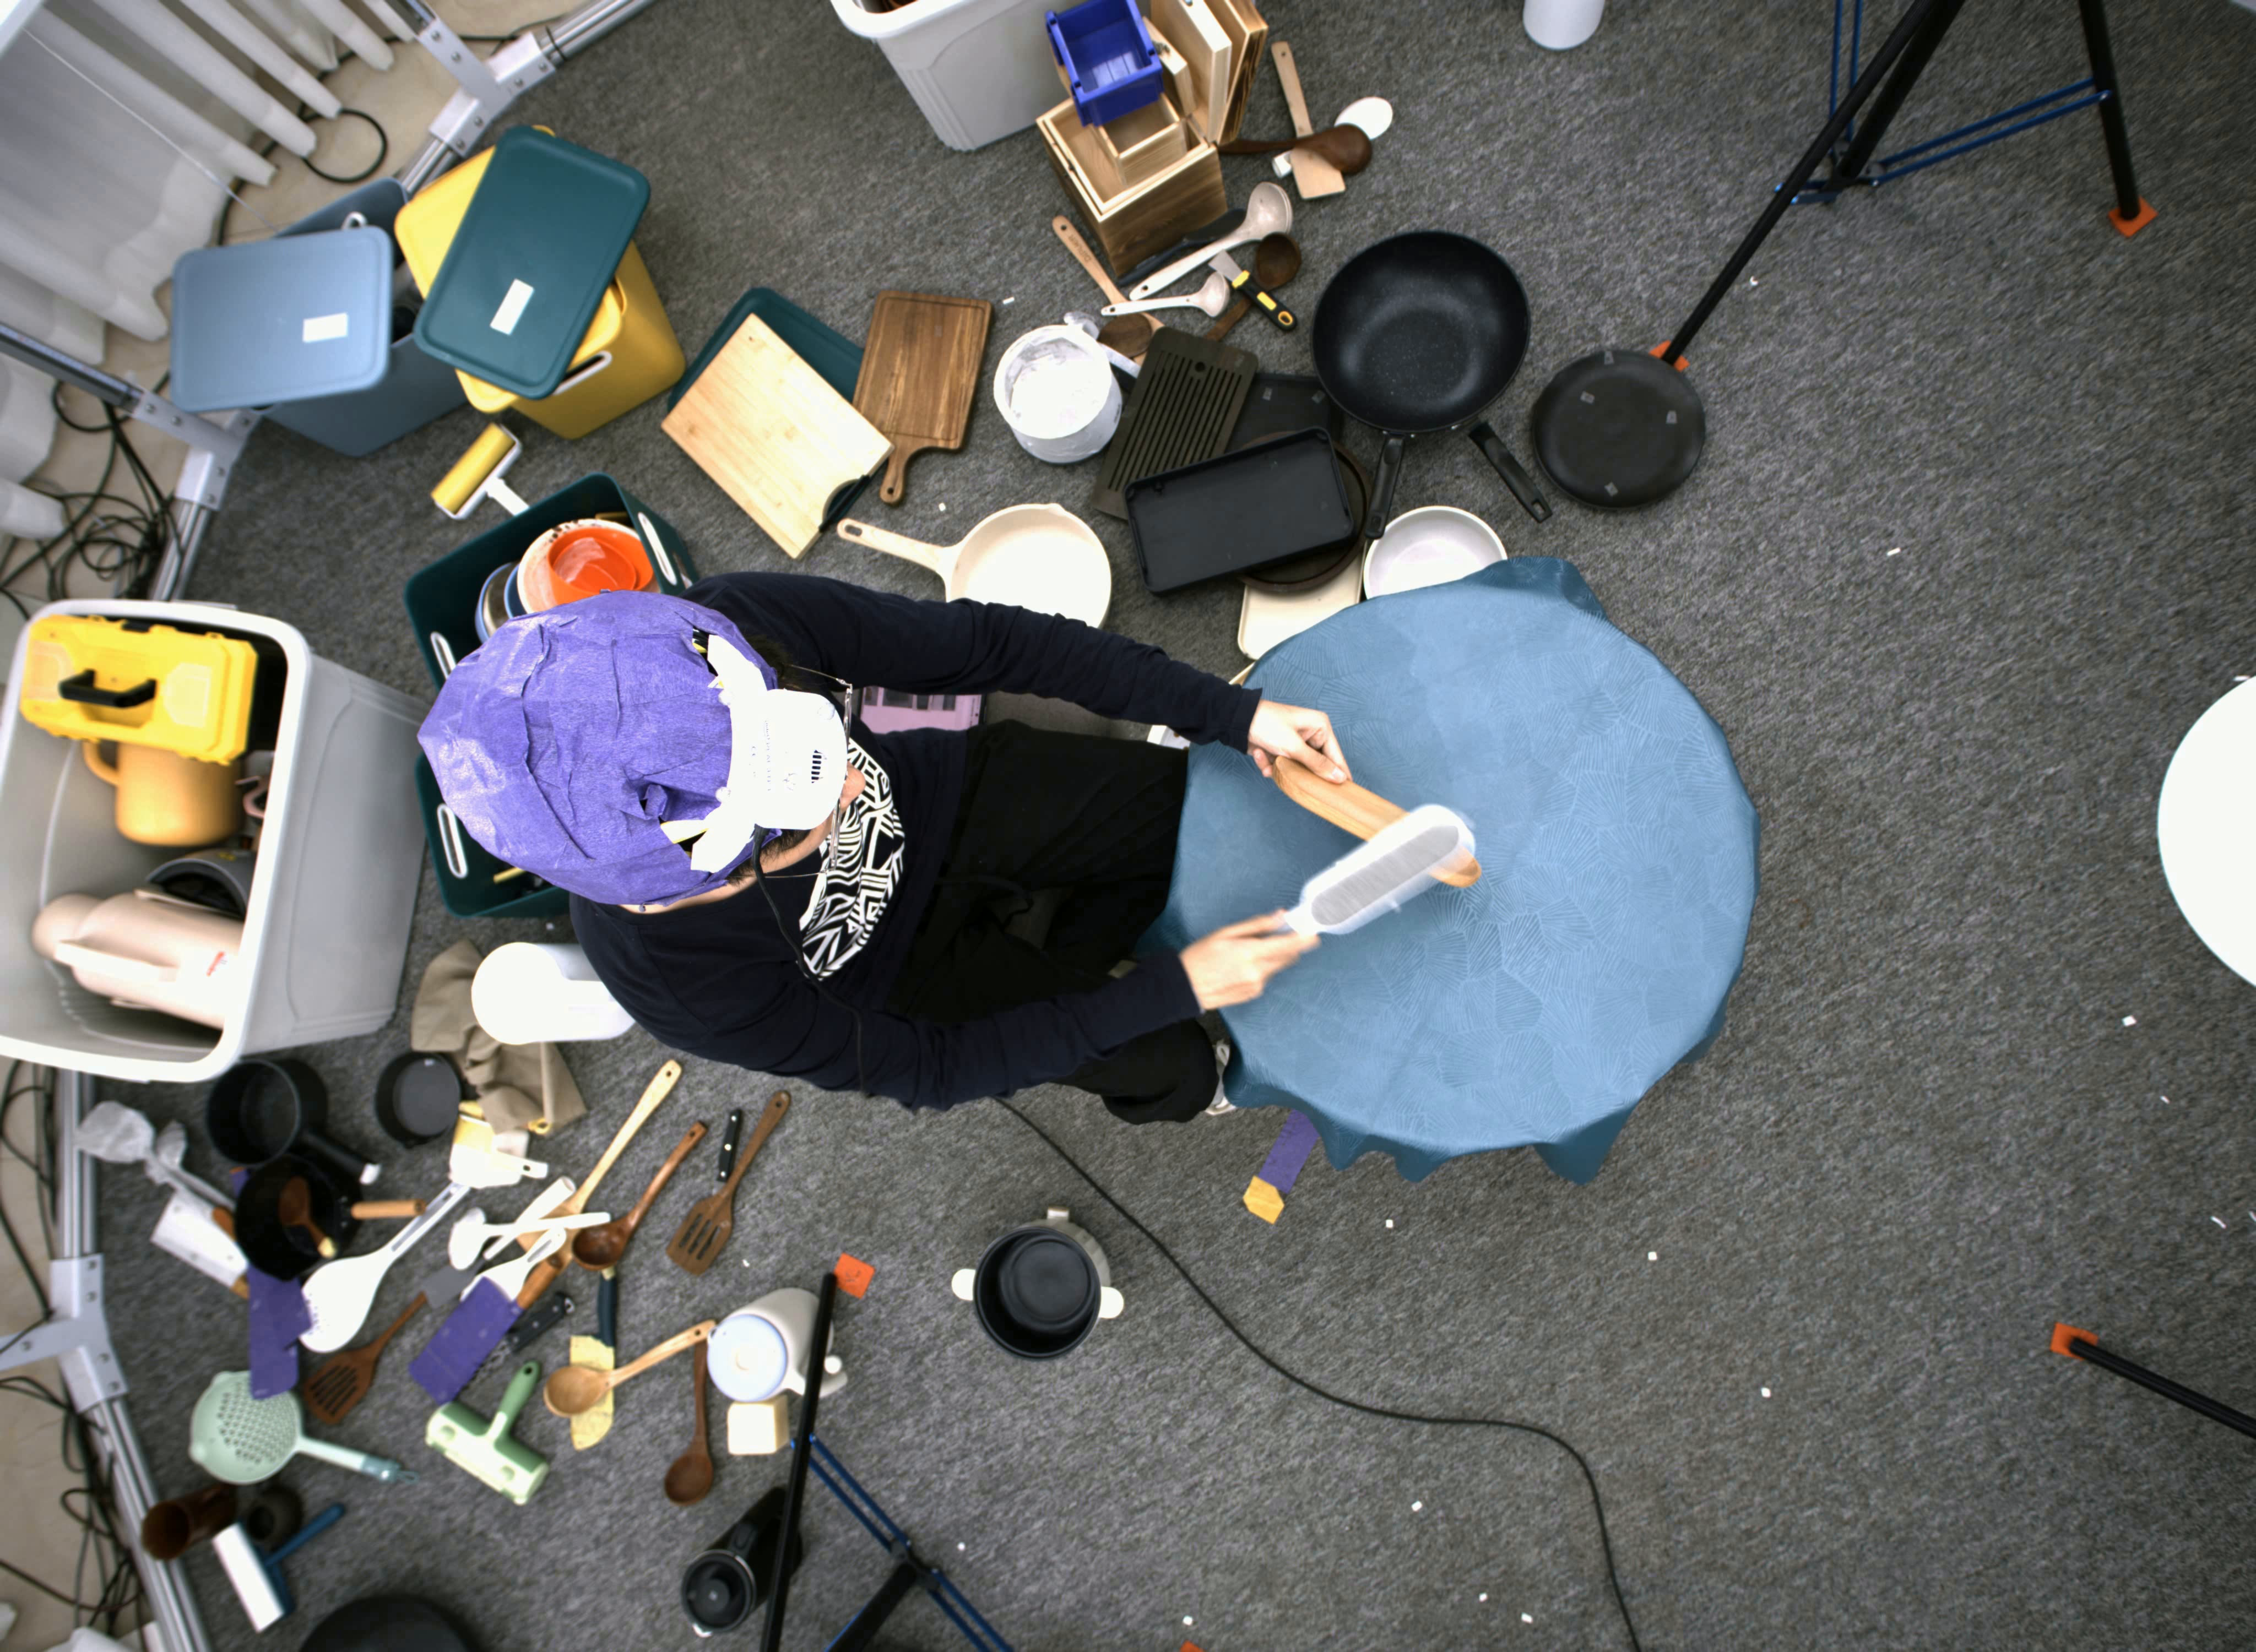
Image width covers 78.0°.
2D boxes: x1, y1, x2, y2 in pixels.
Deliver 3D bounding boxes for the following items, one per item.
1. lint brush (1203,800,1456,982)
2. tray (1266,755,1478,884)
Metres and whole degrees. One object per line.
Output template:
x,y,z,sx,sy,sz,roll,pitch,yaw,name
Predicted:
0.187,0.068,1.340,0.060,0.020,0.315,42,121,-17,lint brush
0.238,-0.008,1.353,0.231,0.100,0.021,26,112,0,tray
